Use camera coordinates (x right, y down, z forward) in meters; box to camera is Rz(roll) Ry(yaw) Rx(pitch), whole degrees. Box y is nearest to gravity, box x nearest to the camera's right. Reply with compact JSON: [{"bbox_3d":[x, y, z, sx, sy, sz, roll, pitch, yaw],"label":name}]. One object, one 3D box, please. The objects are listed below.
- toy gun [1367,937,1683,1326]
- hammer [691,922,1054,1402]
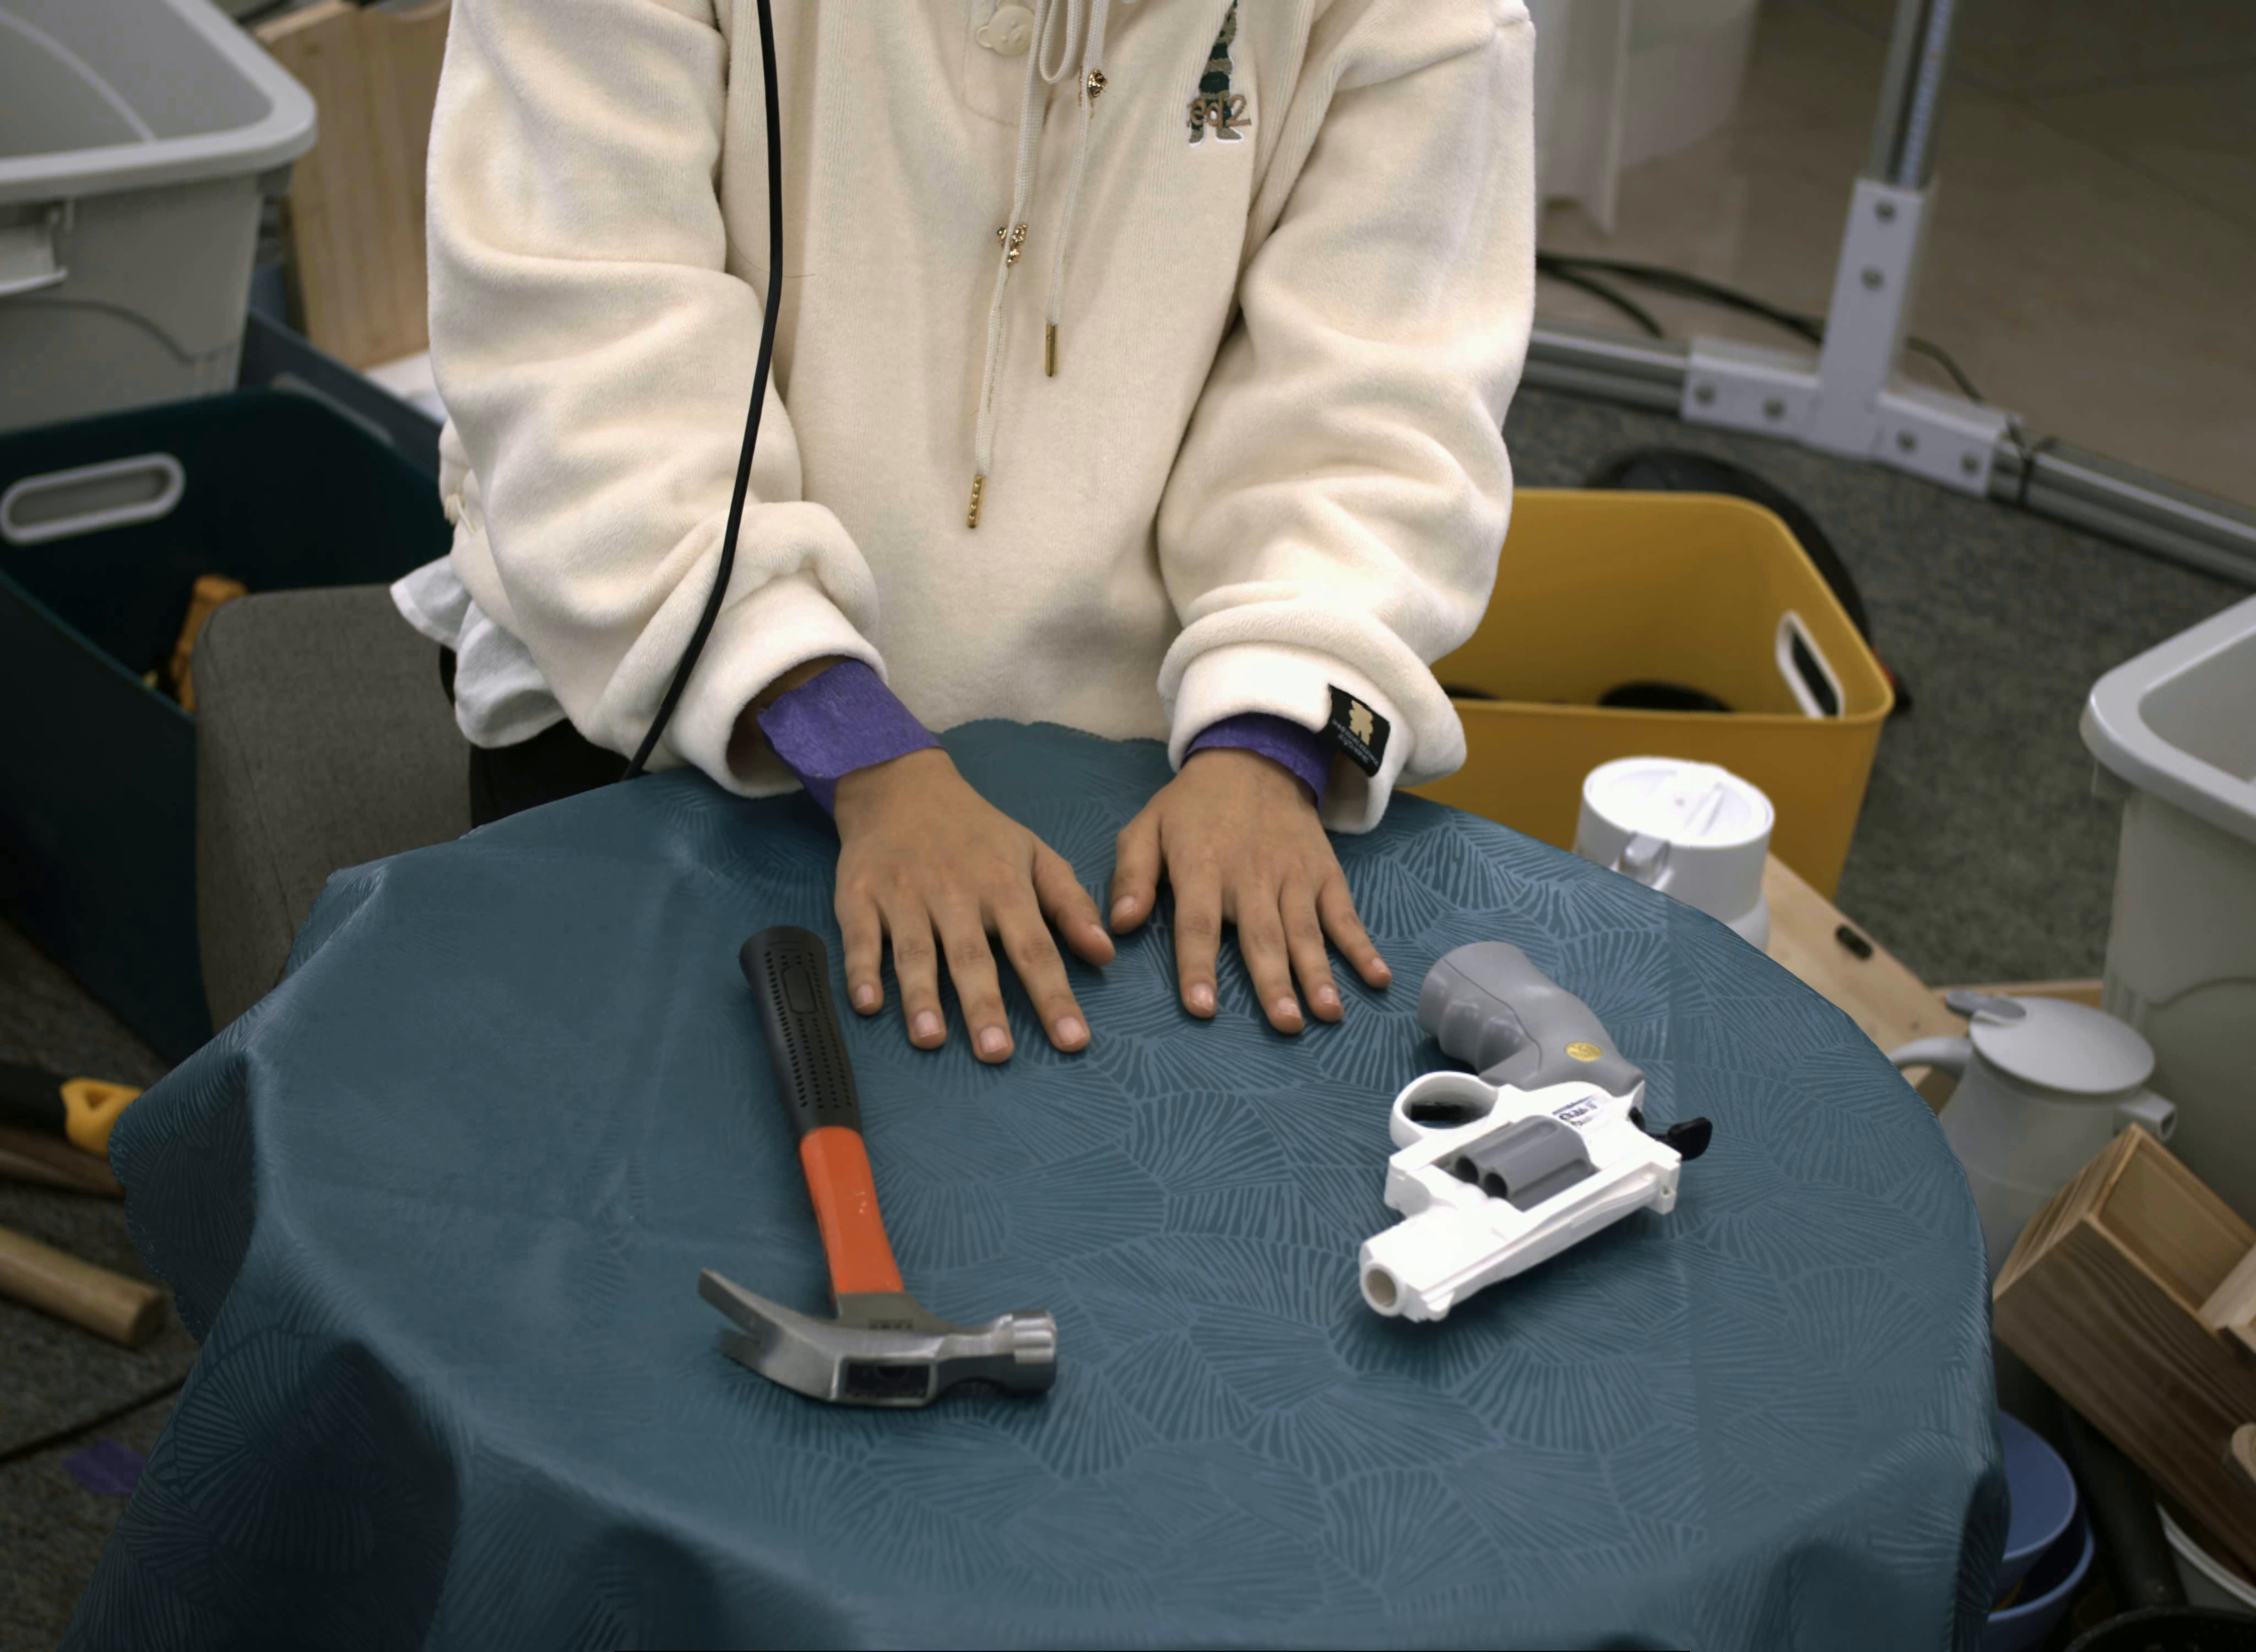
[{"bbox_3d":[0.117,0.104,1.824,0.142,0.038,0.208,27,33,33],"label":"toy gun"},{"bbox_3d":[-0.101,0.107,1.780,0.110,0.026,0.279,-7,28,-7],"label":"hammer"}]
